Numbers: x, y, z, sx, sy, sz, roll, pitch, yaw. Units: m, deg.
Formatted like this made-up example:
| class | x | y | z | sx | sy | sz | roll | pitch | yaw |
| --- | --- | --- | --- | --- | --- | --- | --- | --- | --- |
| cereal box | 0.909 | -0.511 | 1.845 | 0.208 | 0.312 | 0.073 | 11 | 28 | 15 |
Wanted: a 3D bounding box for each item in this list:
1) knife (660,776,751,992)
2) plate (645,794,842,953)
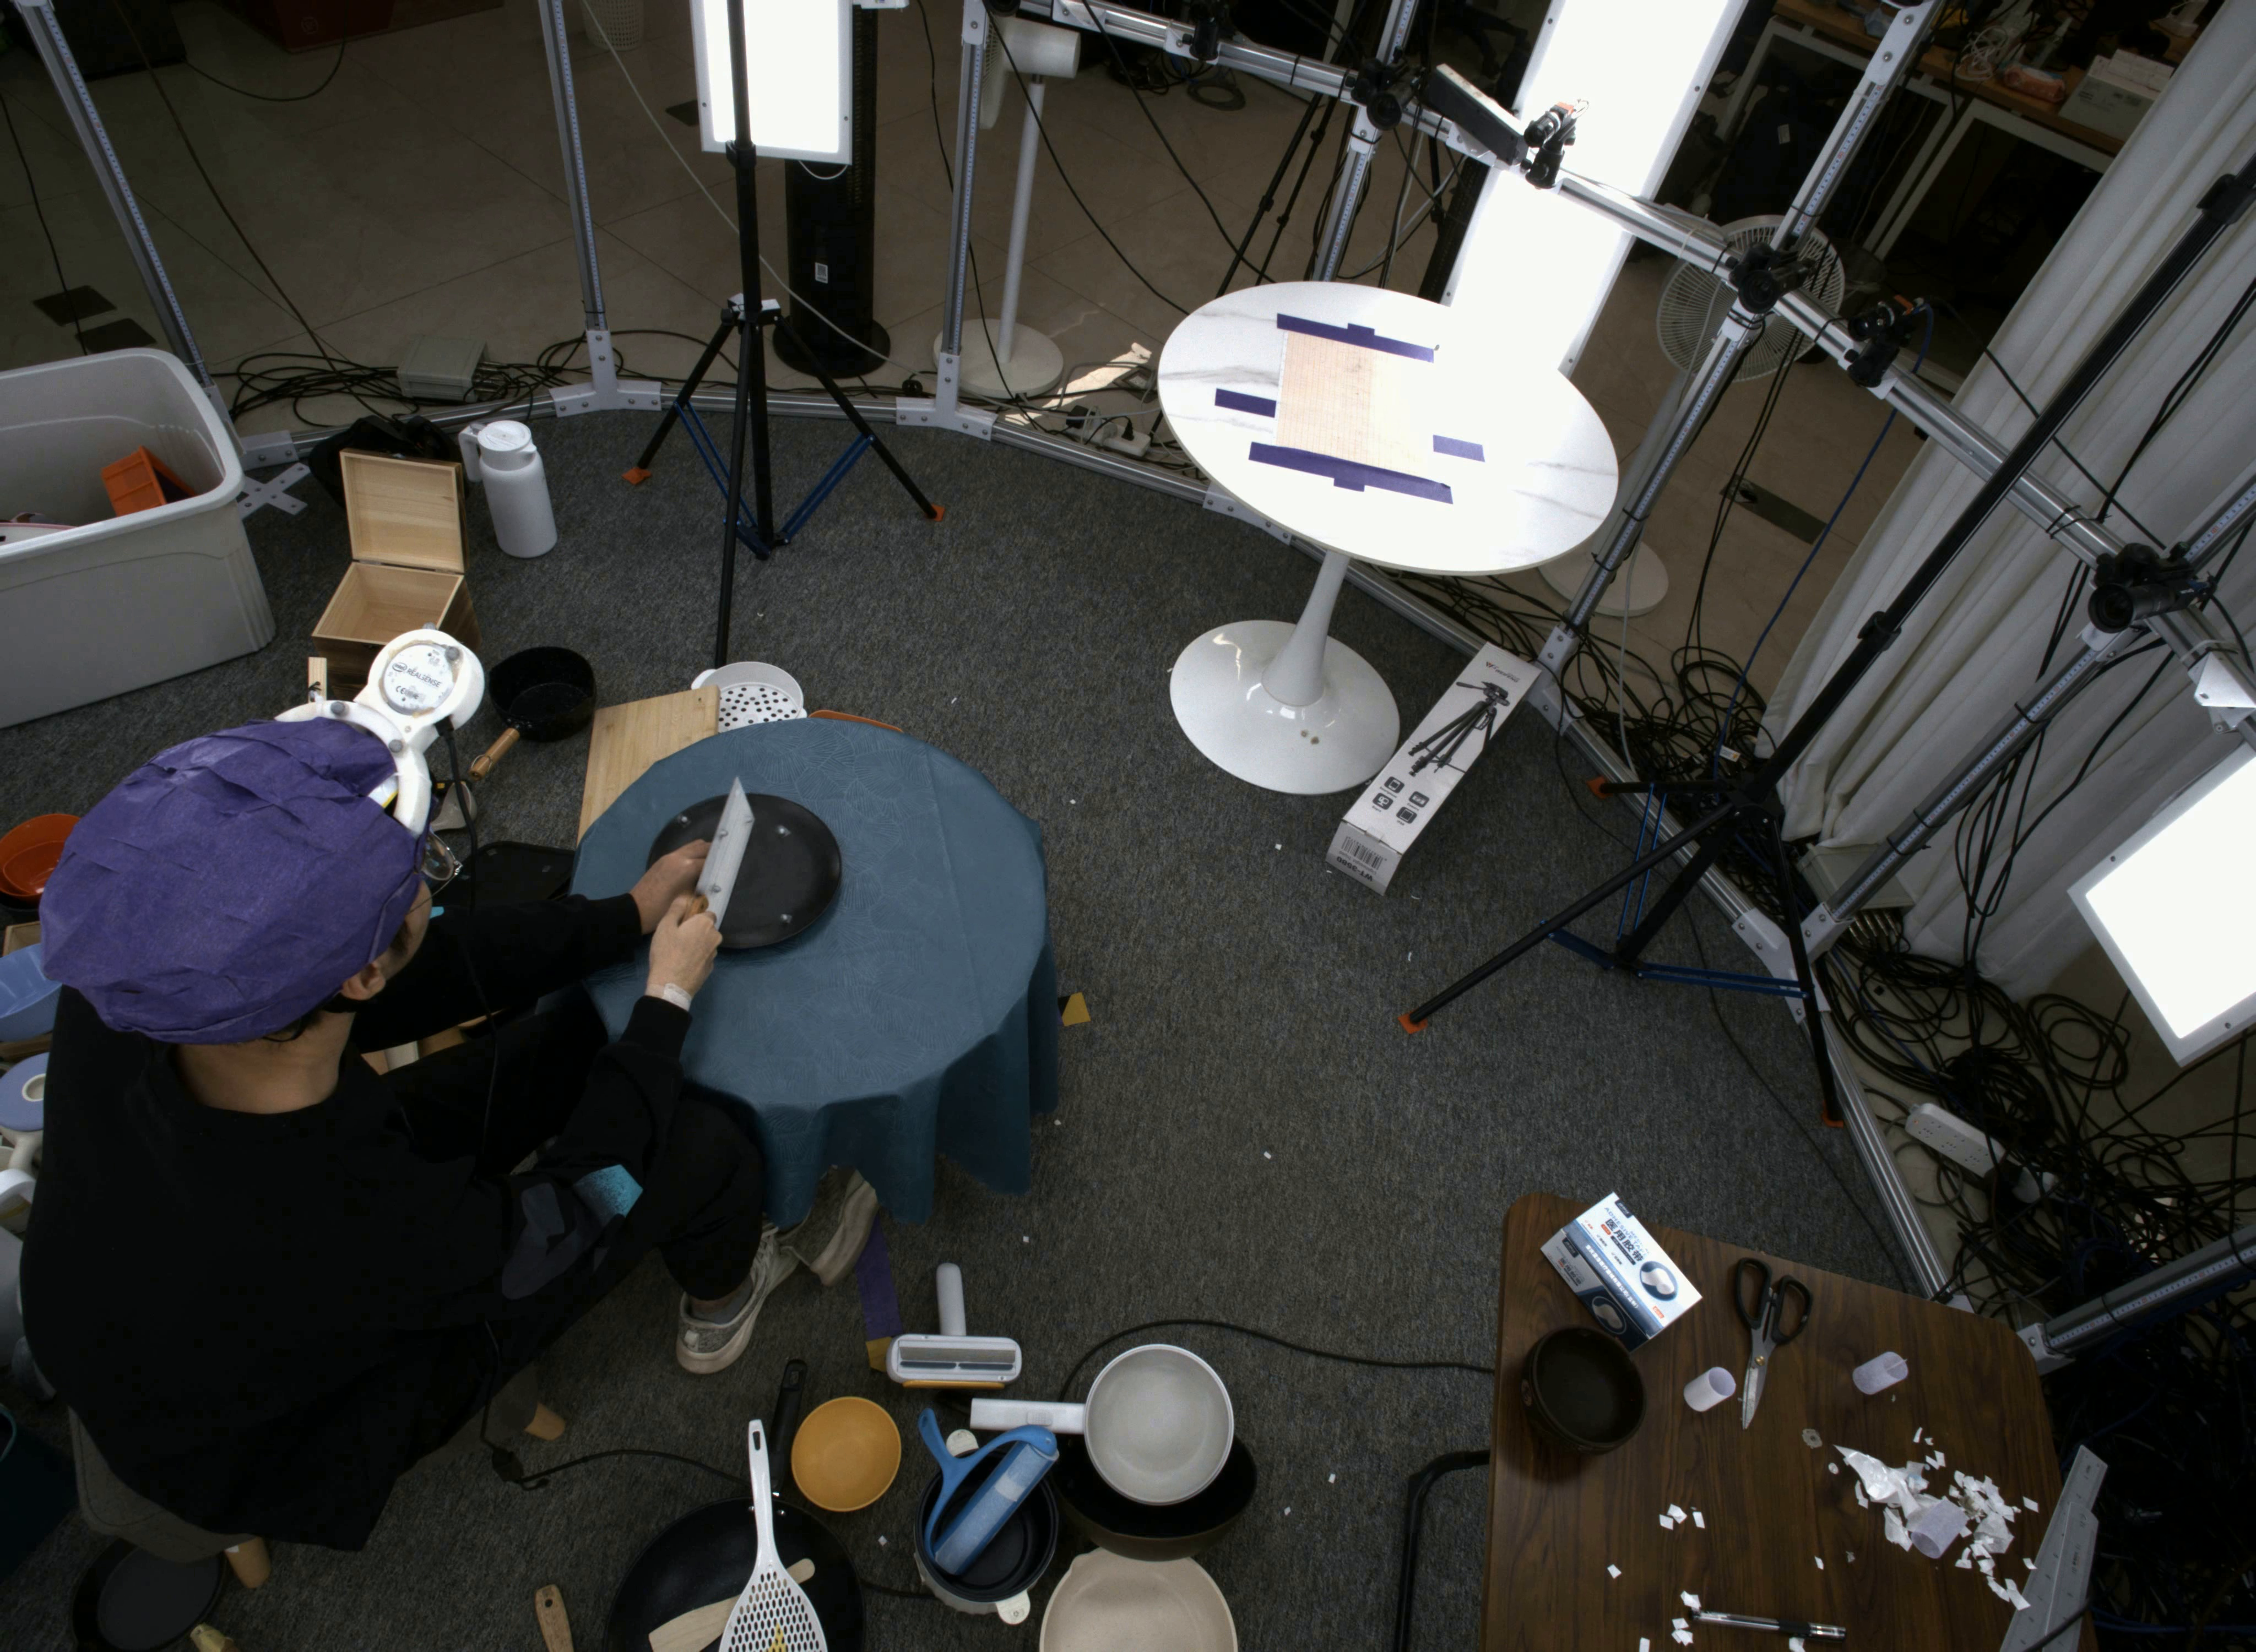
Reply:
| class | x | y | z | sx | sy | sz | roll | pitch | yaw |
| --- | --- | --- | --- | --- | --- | --- | --- | --- | --- |
| knife | -0.501 | 0.077 | 1.556 | 0.020 | 0.096 | 0.301 | 2 | 51 | 5 |
| plate | -0.485 | 0.059 | 1.637 | 0.244 | 0.024 | 0.240 | 8 | 52 | -9 |
